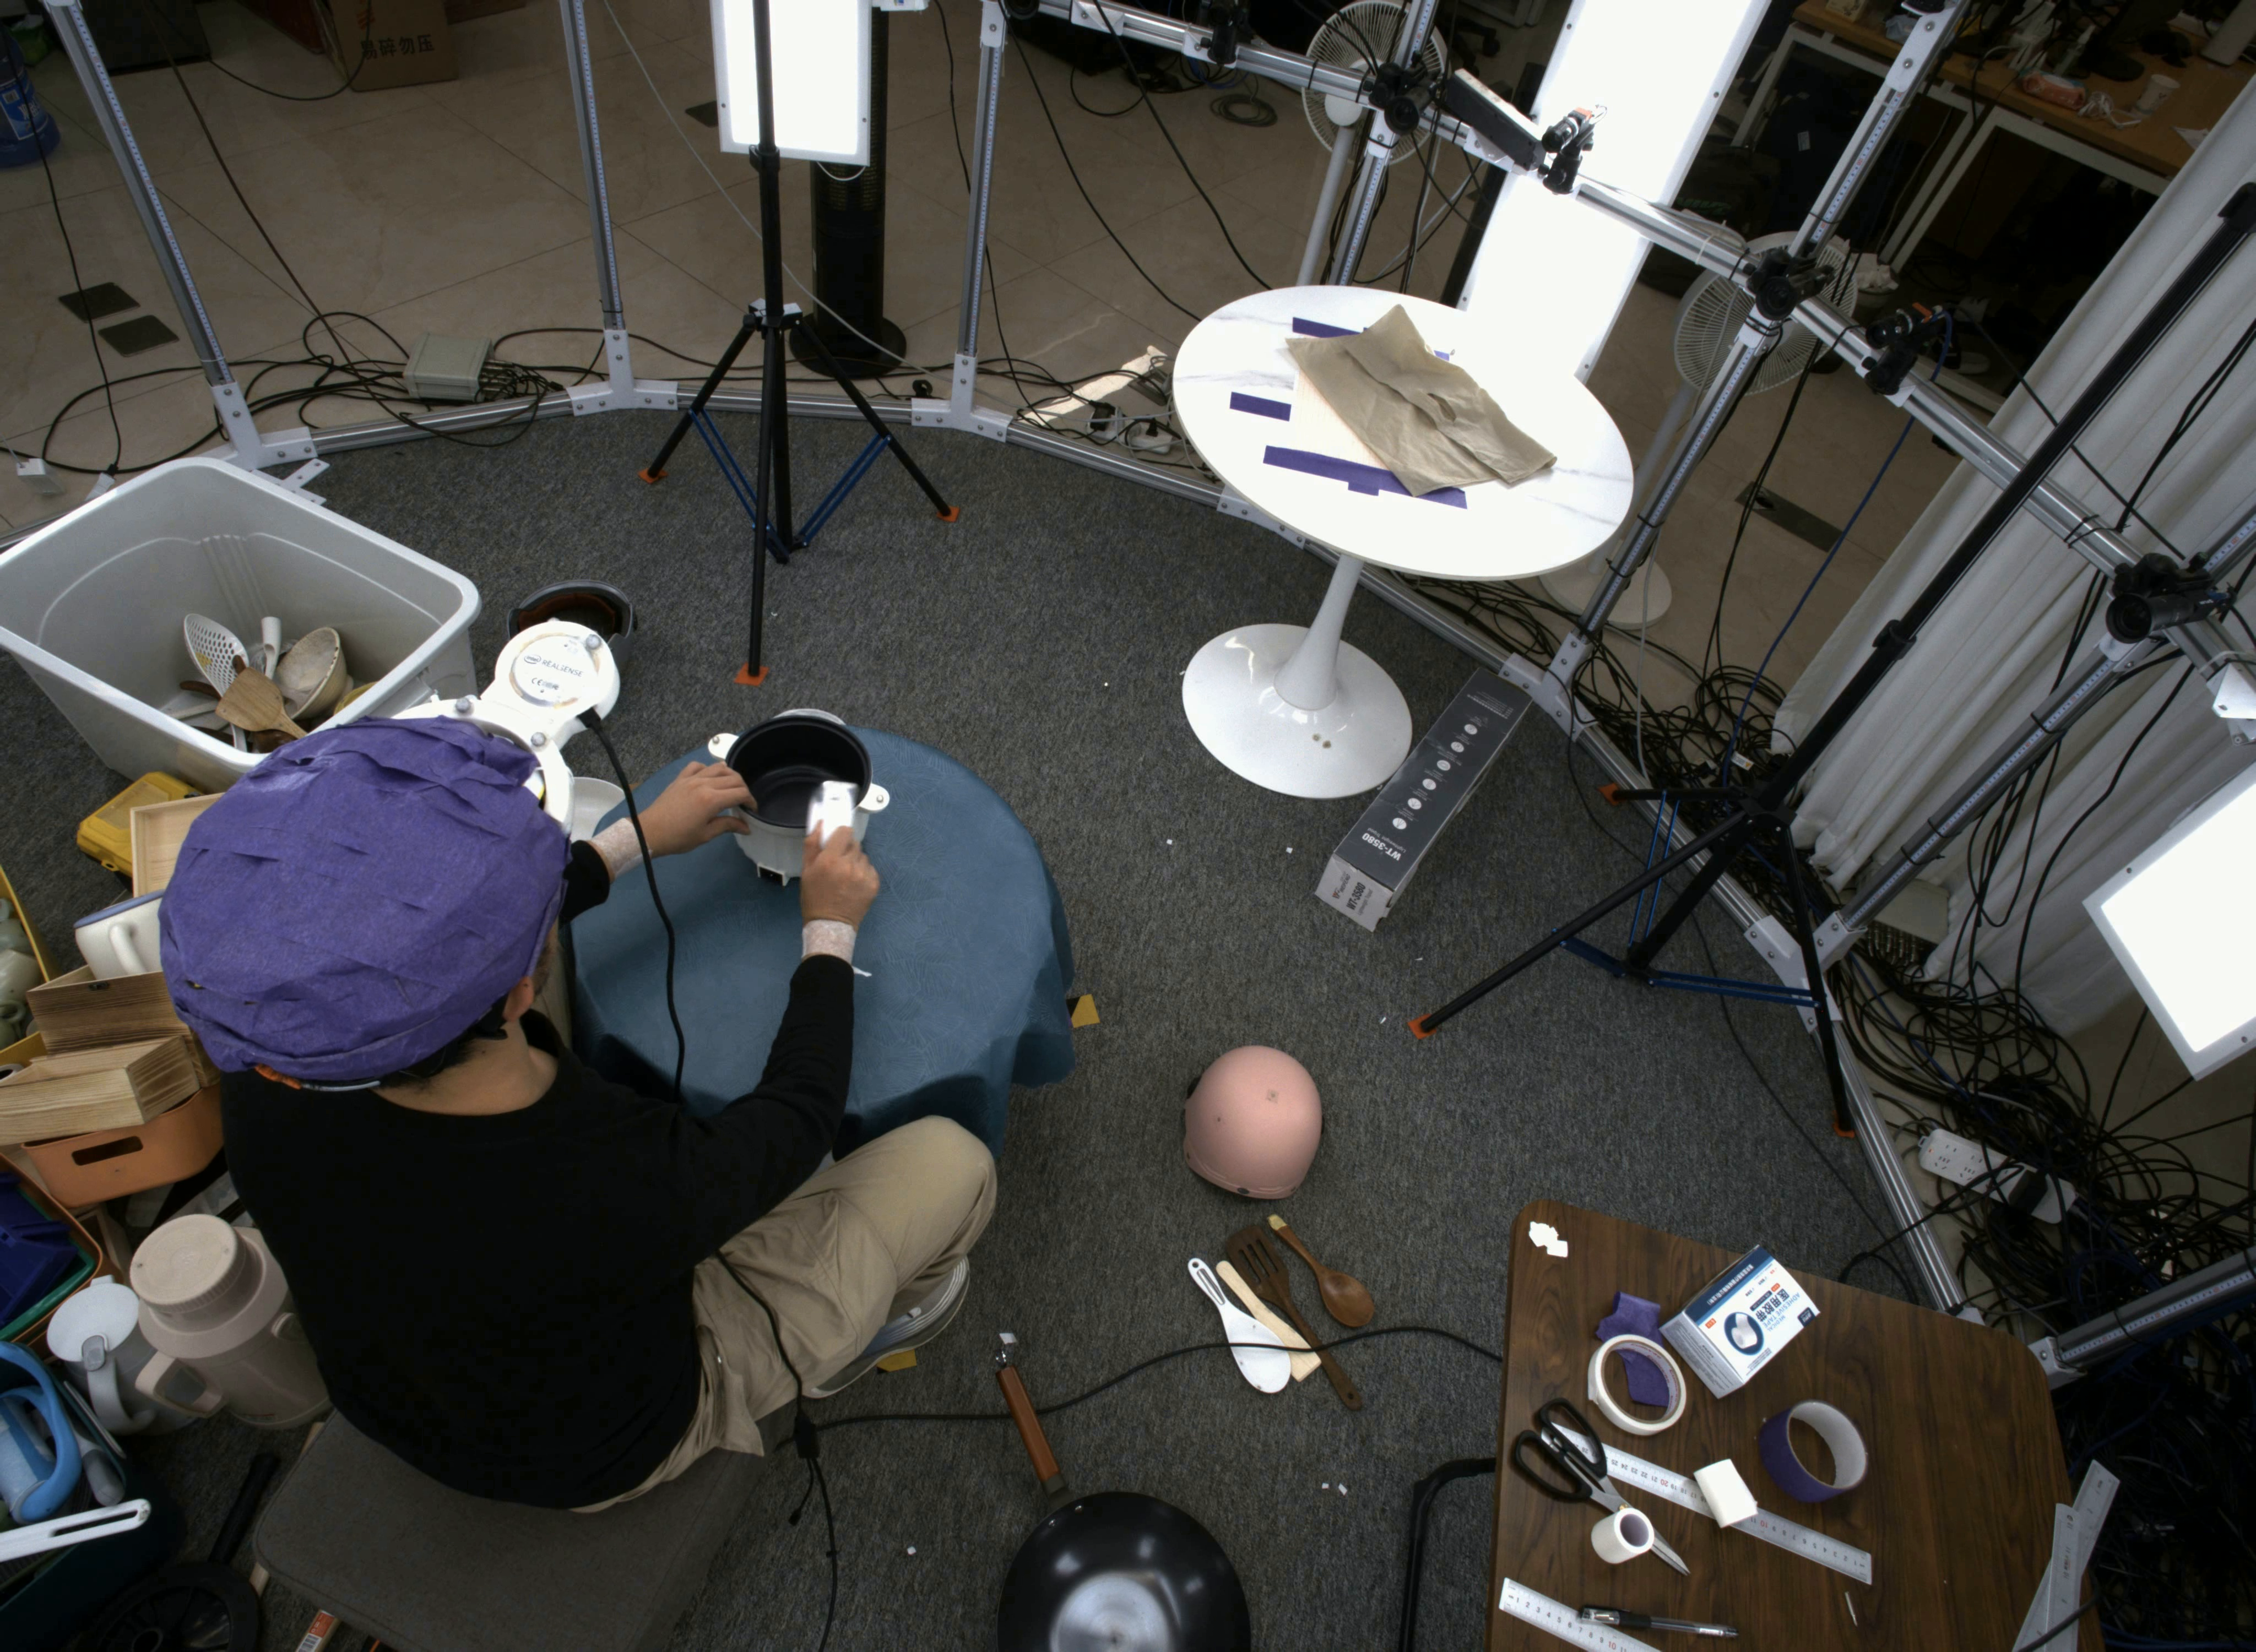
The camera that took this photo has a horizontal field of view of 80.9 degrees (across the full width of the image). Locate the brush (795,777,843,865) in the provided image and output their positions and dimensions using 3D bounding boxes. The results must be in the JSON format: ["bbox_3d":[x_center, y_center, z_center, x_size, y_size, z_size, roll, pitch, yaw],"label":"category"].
[{"bbox_3d":[-0.362,-0.009,1.525,0.050,0.071,0.099,12,79,-16],"label":"brush"}]

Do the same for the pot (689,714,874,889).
[{"bbox_3d":[-0.438,-0.034,1.651,0.239,0.145,0.188,18,54,-1],"label":"pot"}]
